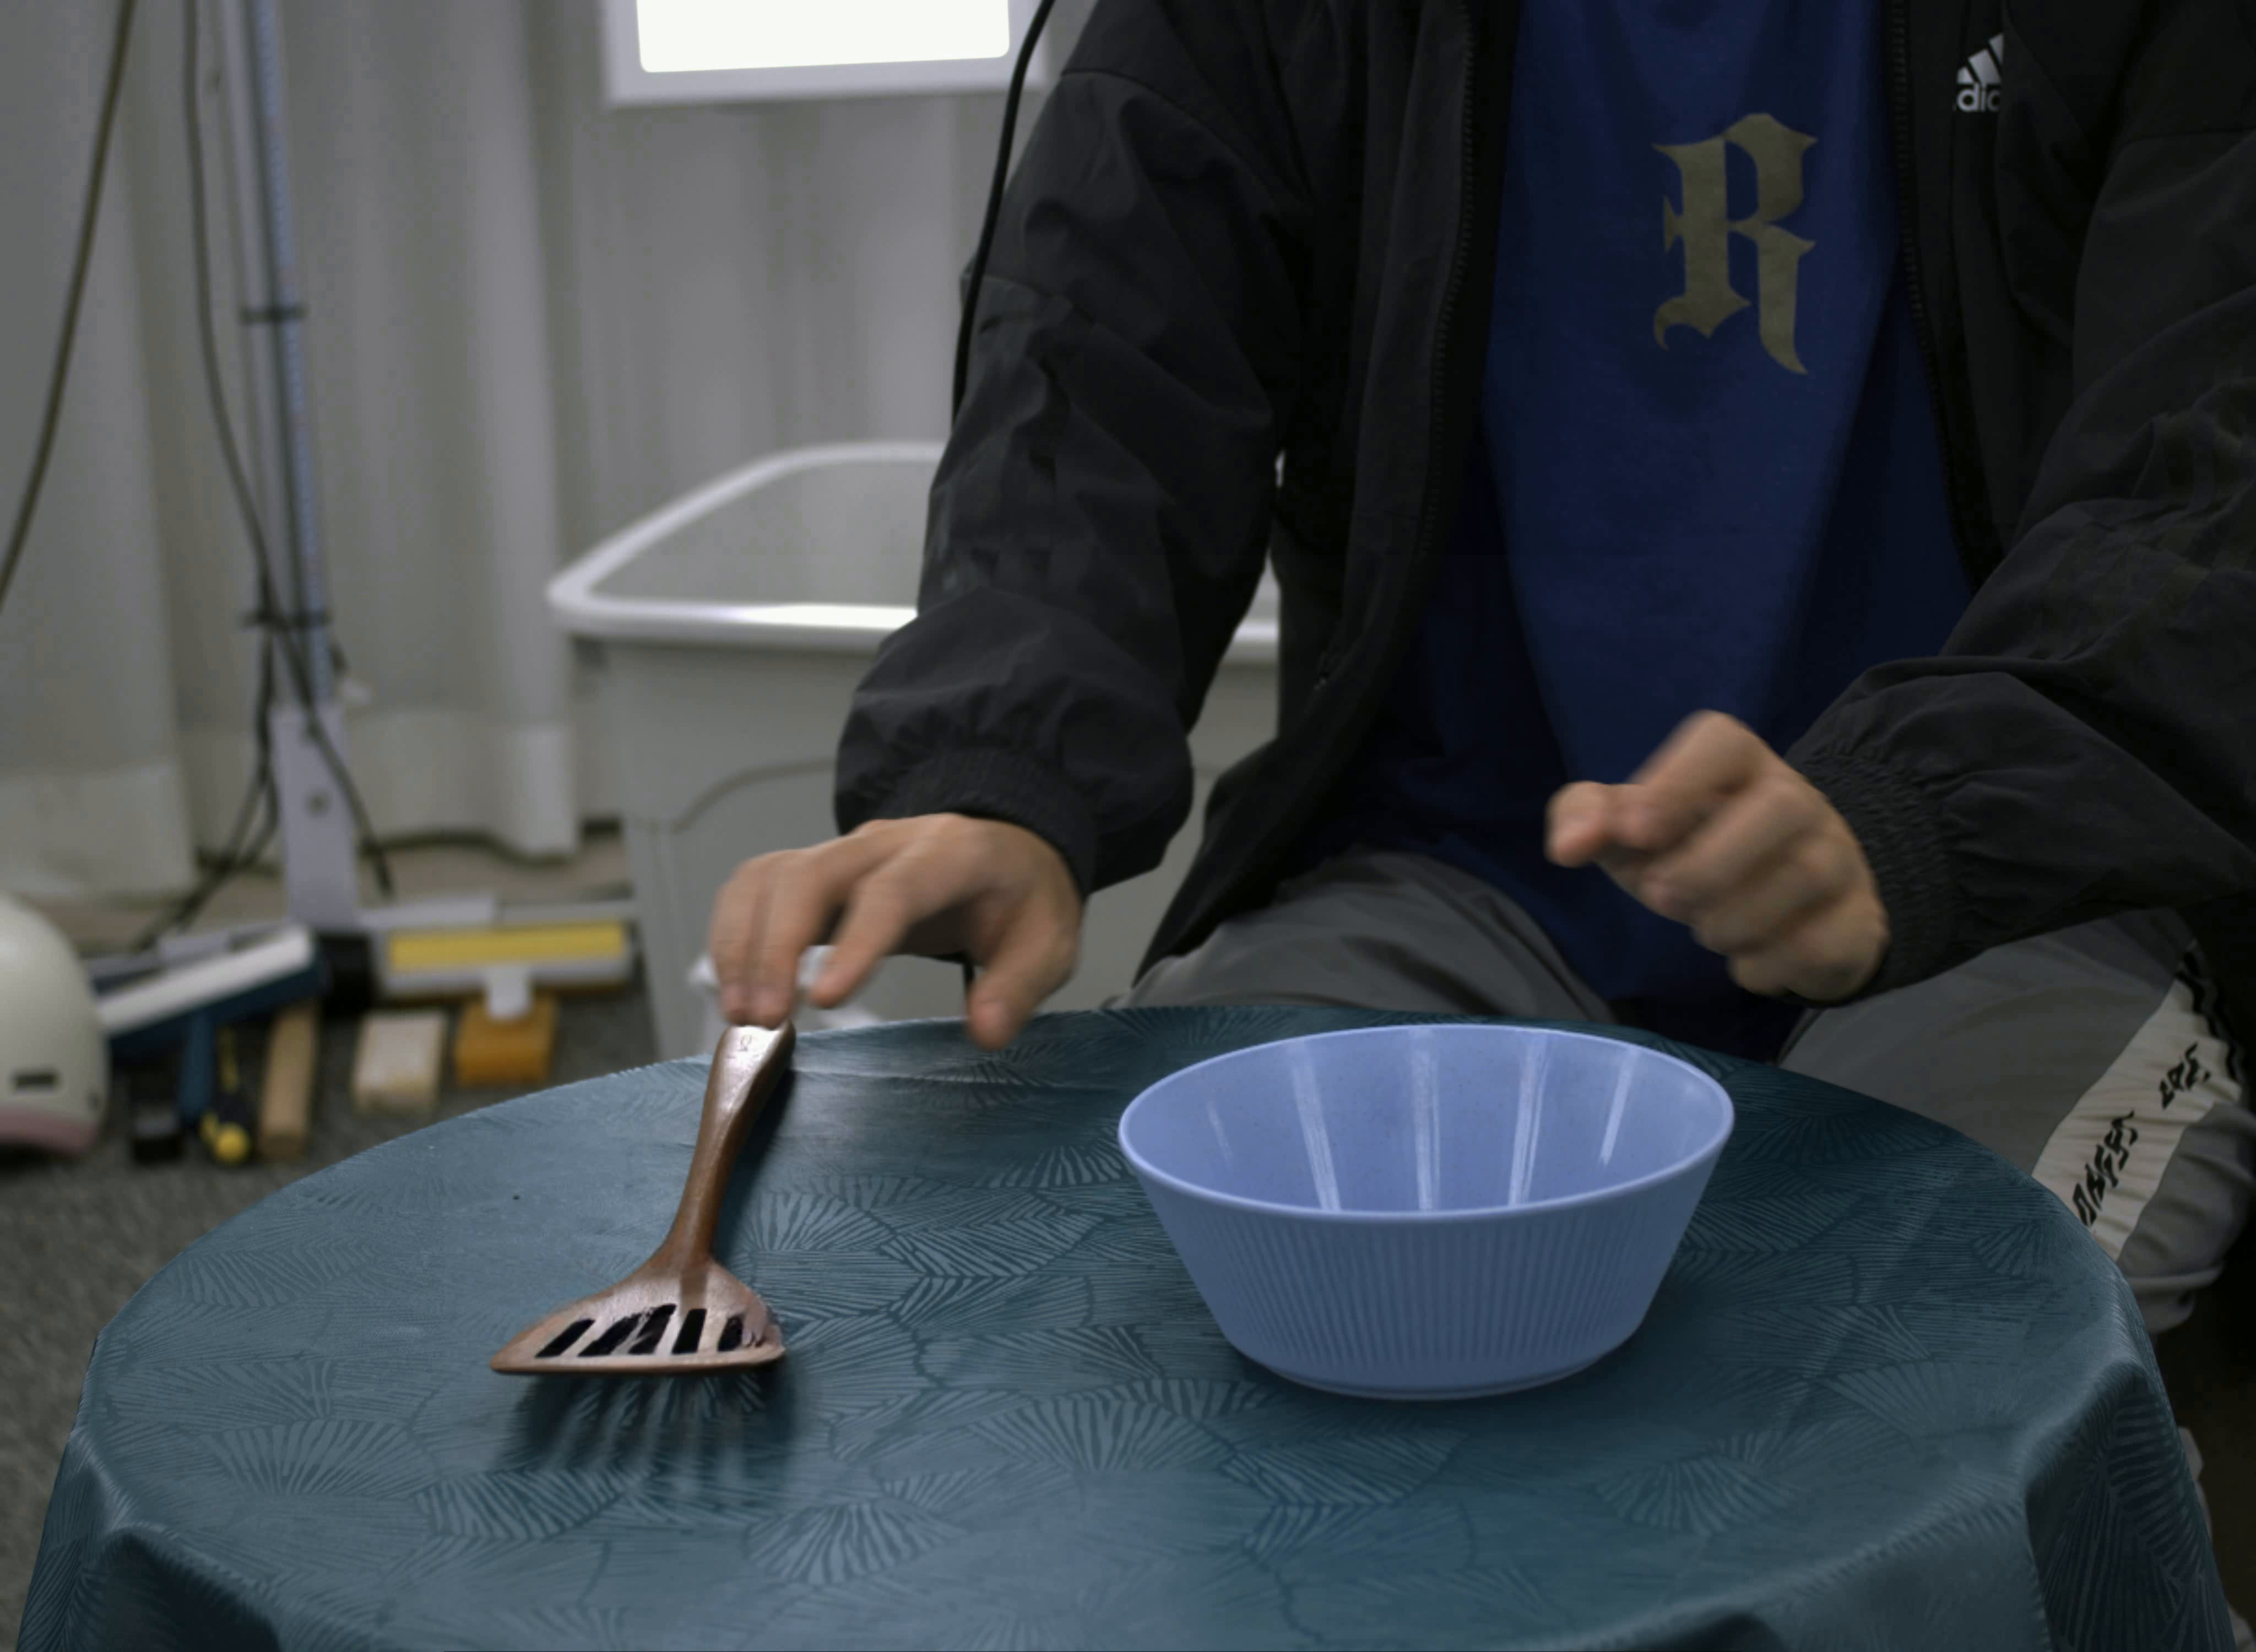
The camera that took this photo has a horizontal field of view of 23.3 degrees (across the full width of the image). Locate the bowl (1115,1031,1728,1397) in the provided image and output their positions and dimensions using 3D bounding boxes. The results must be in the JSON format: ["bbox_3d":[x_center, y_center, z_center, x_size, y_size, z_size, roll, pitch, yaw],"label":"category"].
[{"bbox_3d":[0.084,0.113,1.563,0.175,0.070,0.177,-2,14,0],"label":"bowl"}]

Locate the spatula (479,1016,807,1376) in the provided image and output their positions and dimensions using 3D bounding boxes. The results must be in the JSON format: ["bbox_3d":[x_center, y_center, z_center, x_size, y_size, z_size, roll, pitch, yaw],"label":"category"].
[{"bbox_3d":[-0.131,0.115,1.695,0.085,0.024,0.389,-2,13,3],"label":"spatula"}]
